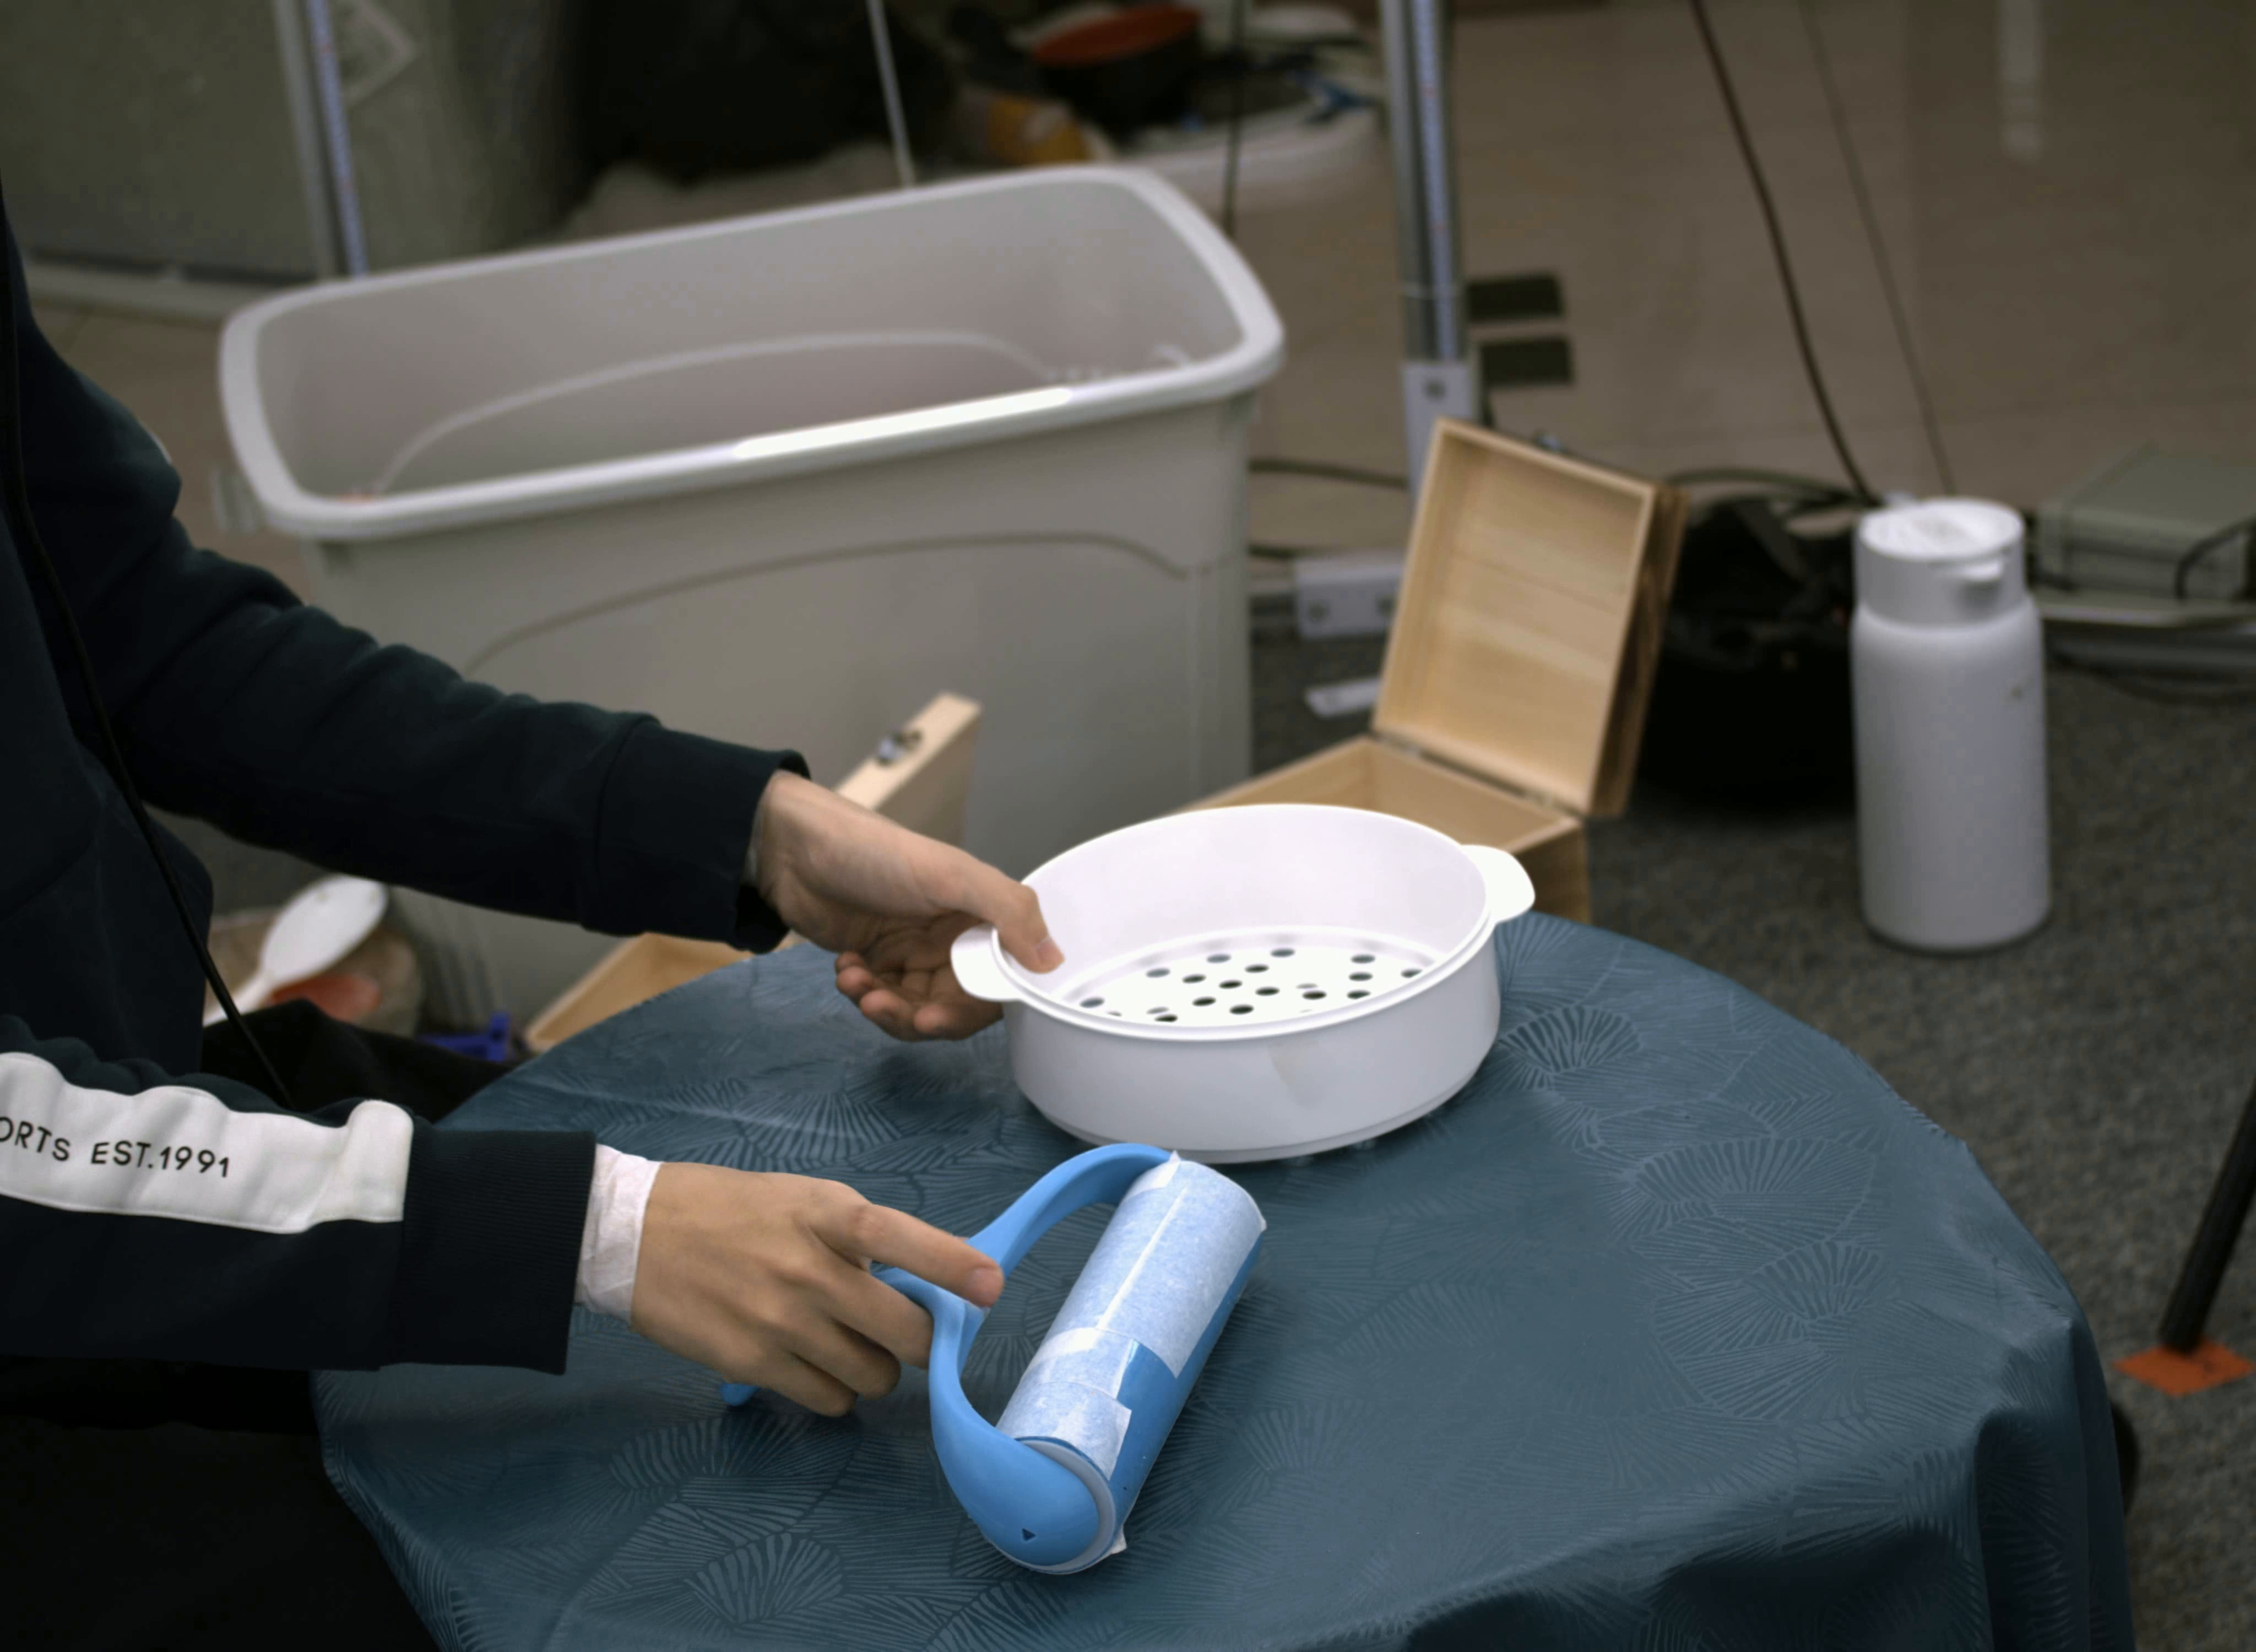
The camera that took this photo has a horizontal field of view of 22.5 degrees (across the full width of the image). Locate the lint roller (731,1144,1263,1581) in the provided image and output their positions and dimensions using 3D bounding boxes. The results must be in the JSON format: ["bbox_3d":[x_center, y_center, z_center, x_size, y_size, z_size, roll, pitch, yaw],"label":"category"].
[{"bbox_3d":[-0.057,0.186,1.993,0.180,0.069,0.225,1,29,12],"label":"lint roller"}]

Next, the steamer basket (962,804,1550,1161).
[{"bbox_3d":[0.053,0.061,2.214,0.230,0.070,0.199,-10,24,-5],"label":"steamer basket"}]
